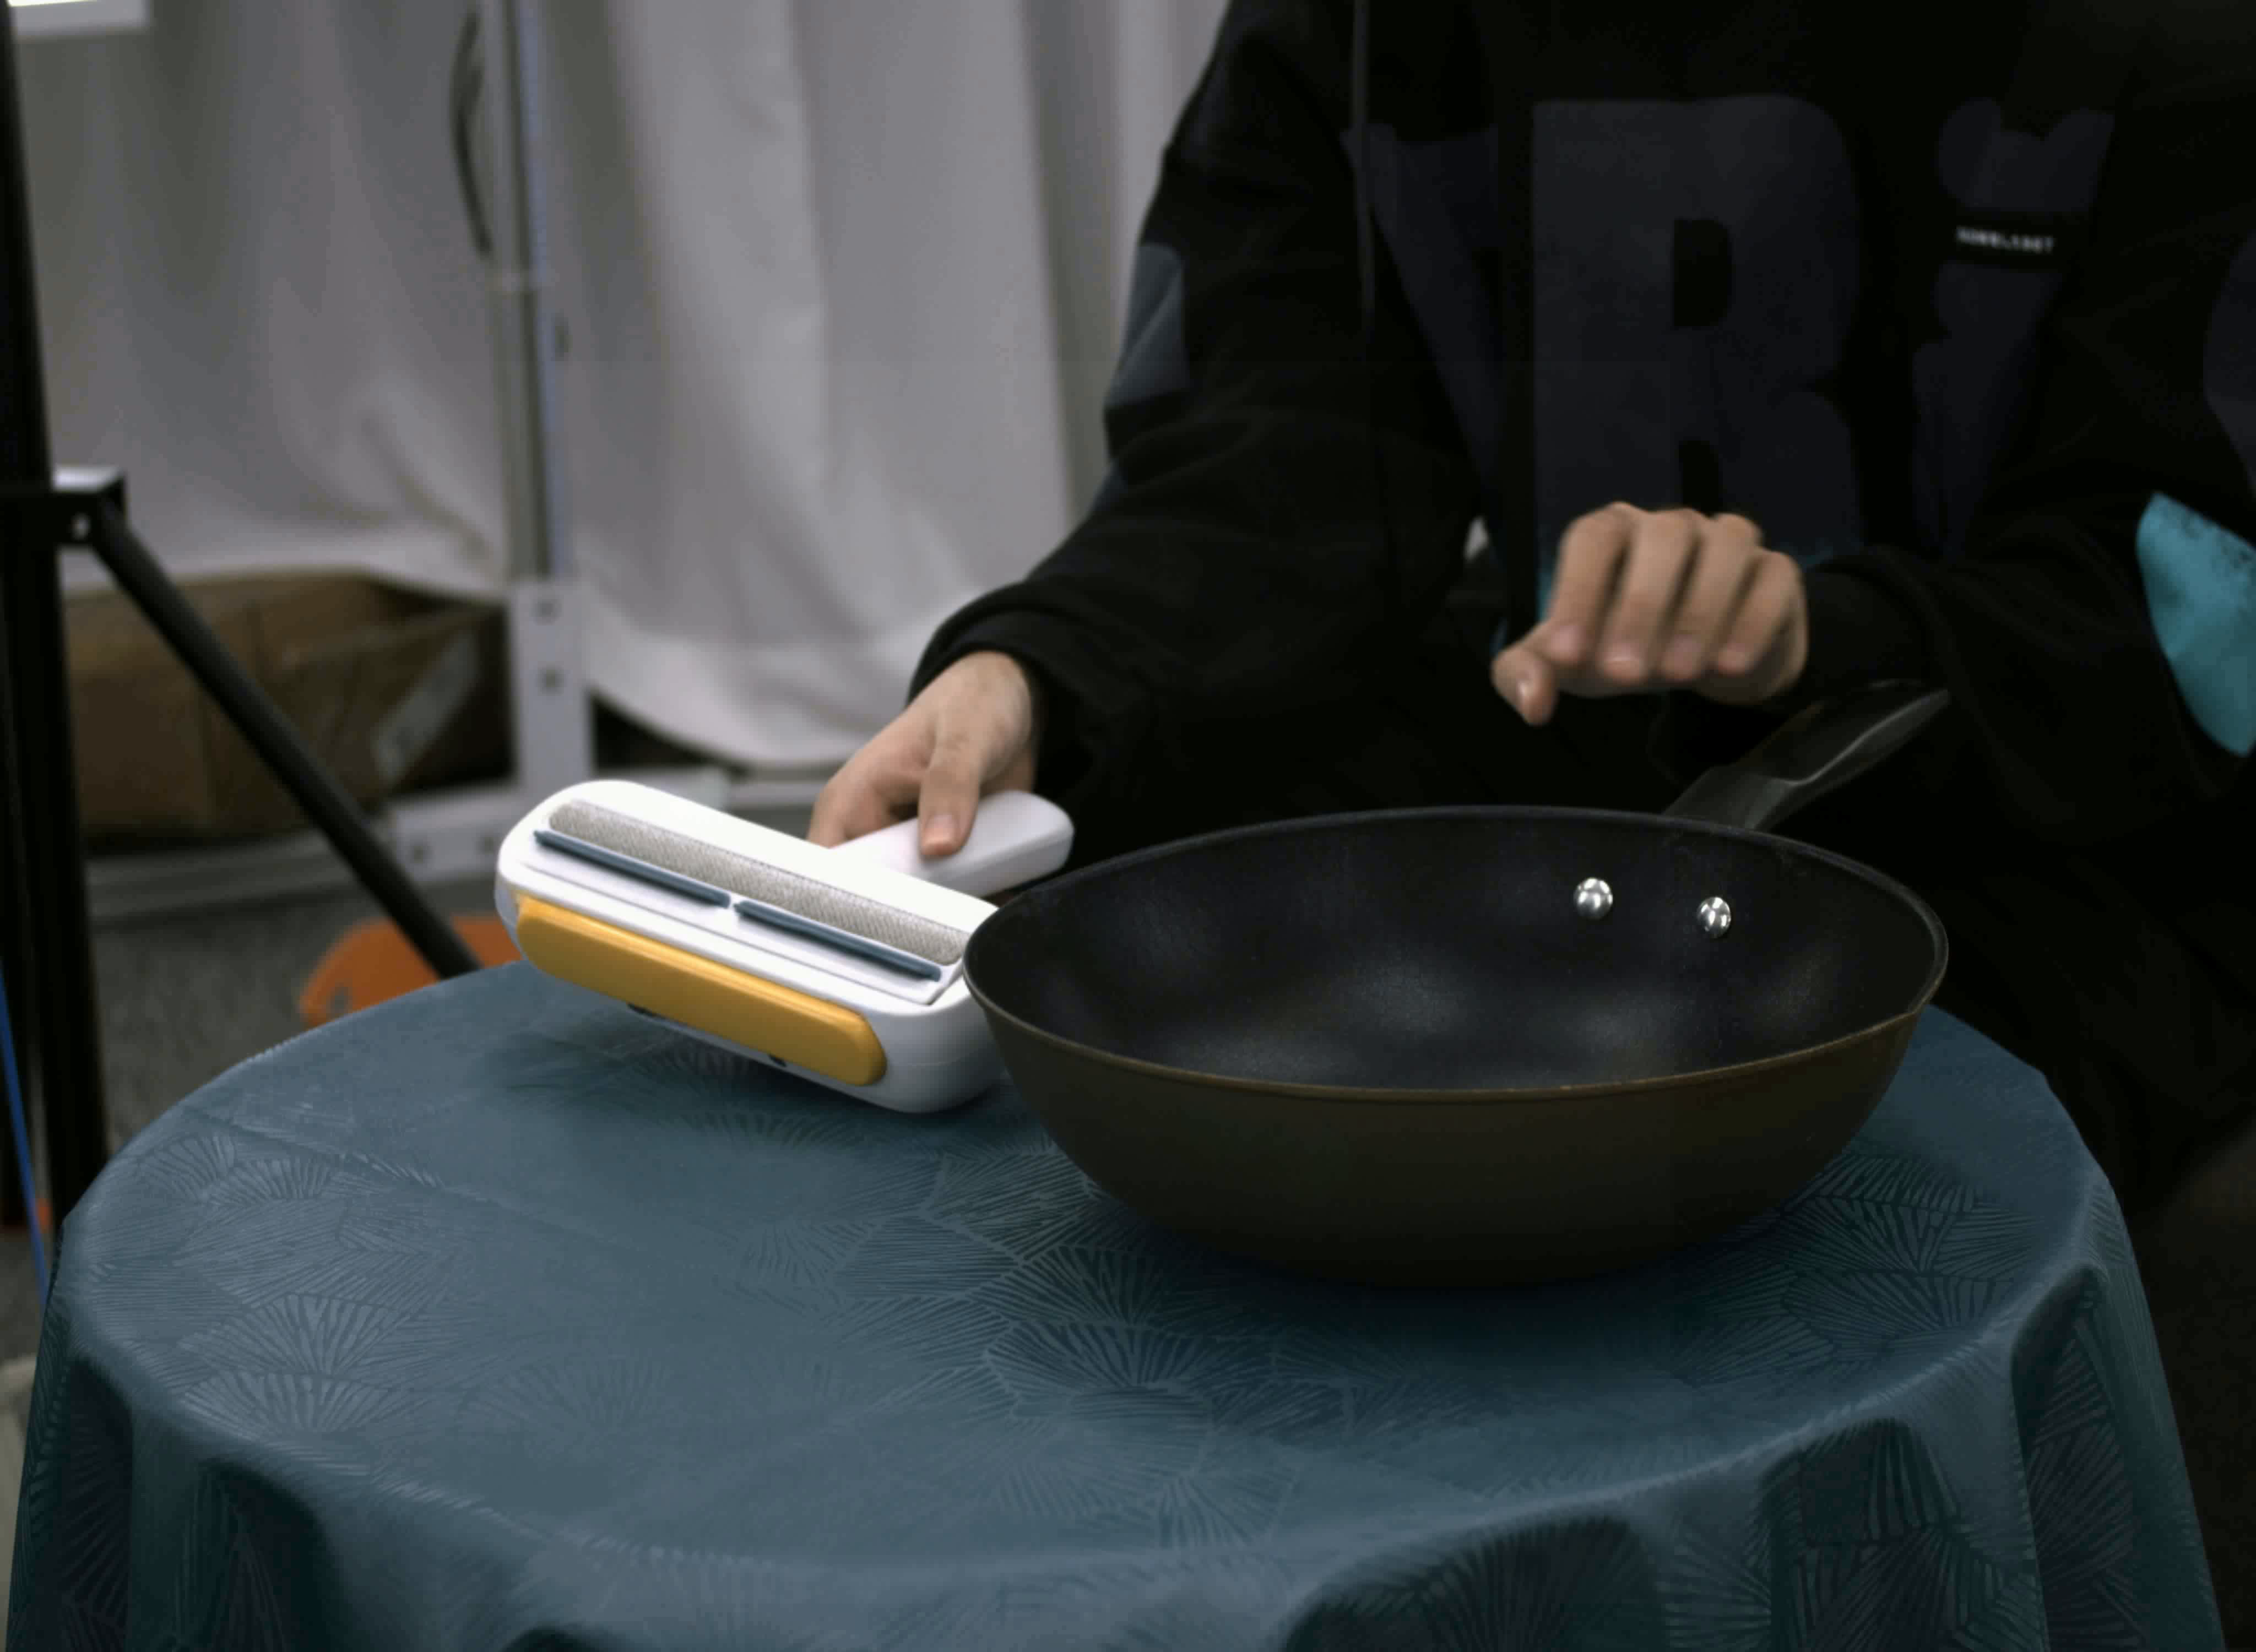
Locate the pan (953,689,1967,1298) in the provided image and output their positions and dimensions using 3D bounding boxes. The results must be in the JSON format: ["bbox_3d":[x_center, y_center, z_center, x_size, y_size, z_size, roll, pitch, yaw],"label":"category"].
[{"bbox_3d":[0.140,0.048,1.595,0.294,0.087,0.454,8,19,33],"label":"pan"}]

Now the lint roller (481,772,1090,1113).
[{"bbox_3d":[-0.084,0.018,1.726,0.197,0.074,0.189,16,35,38],"label":"lint roller"}]
